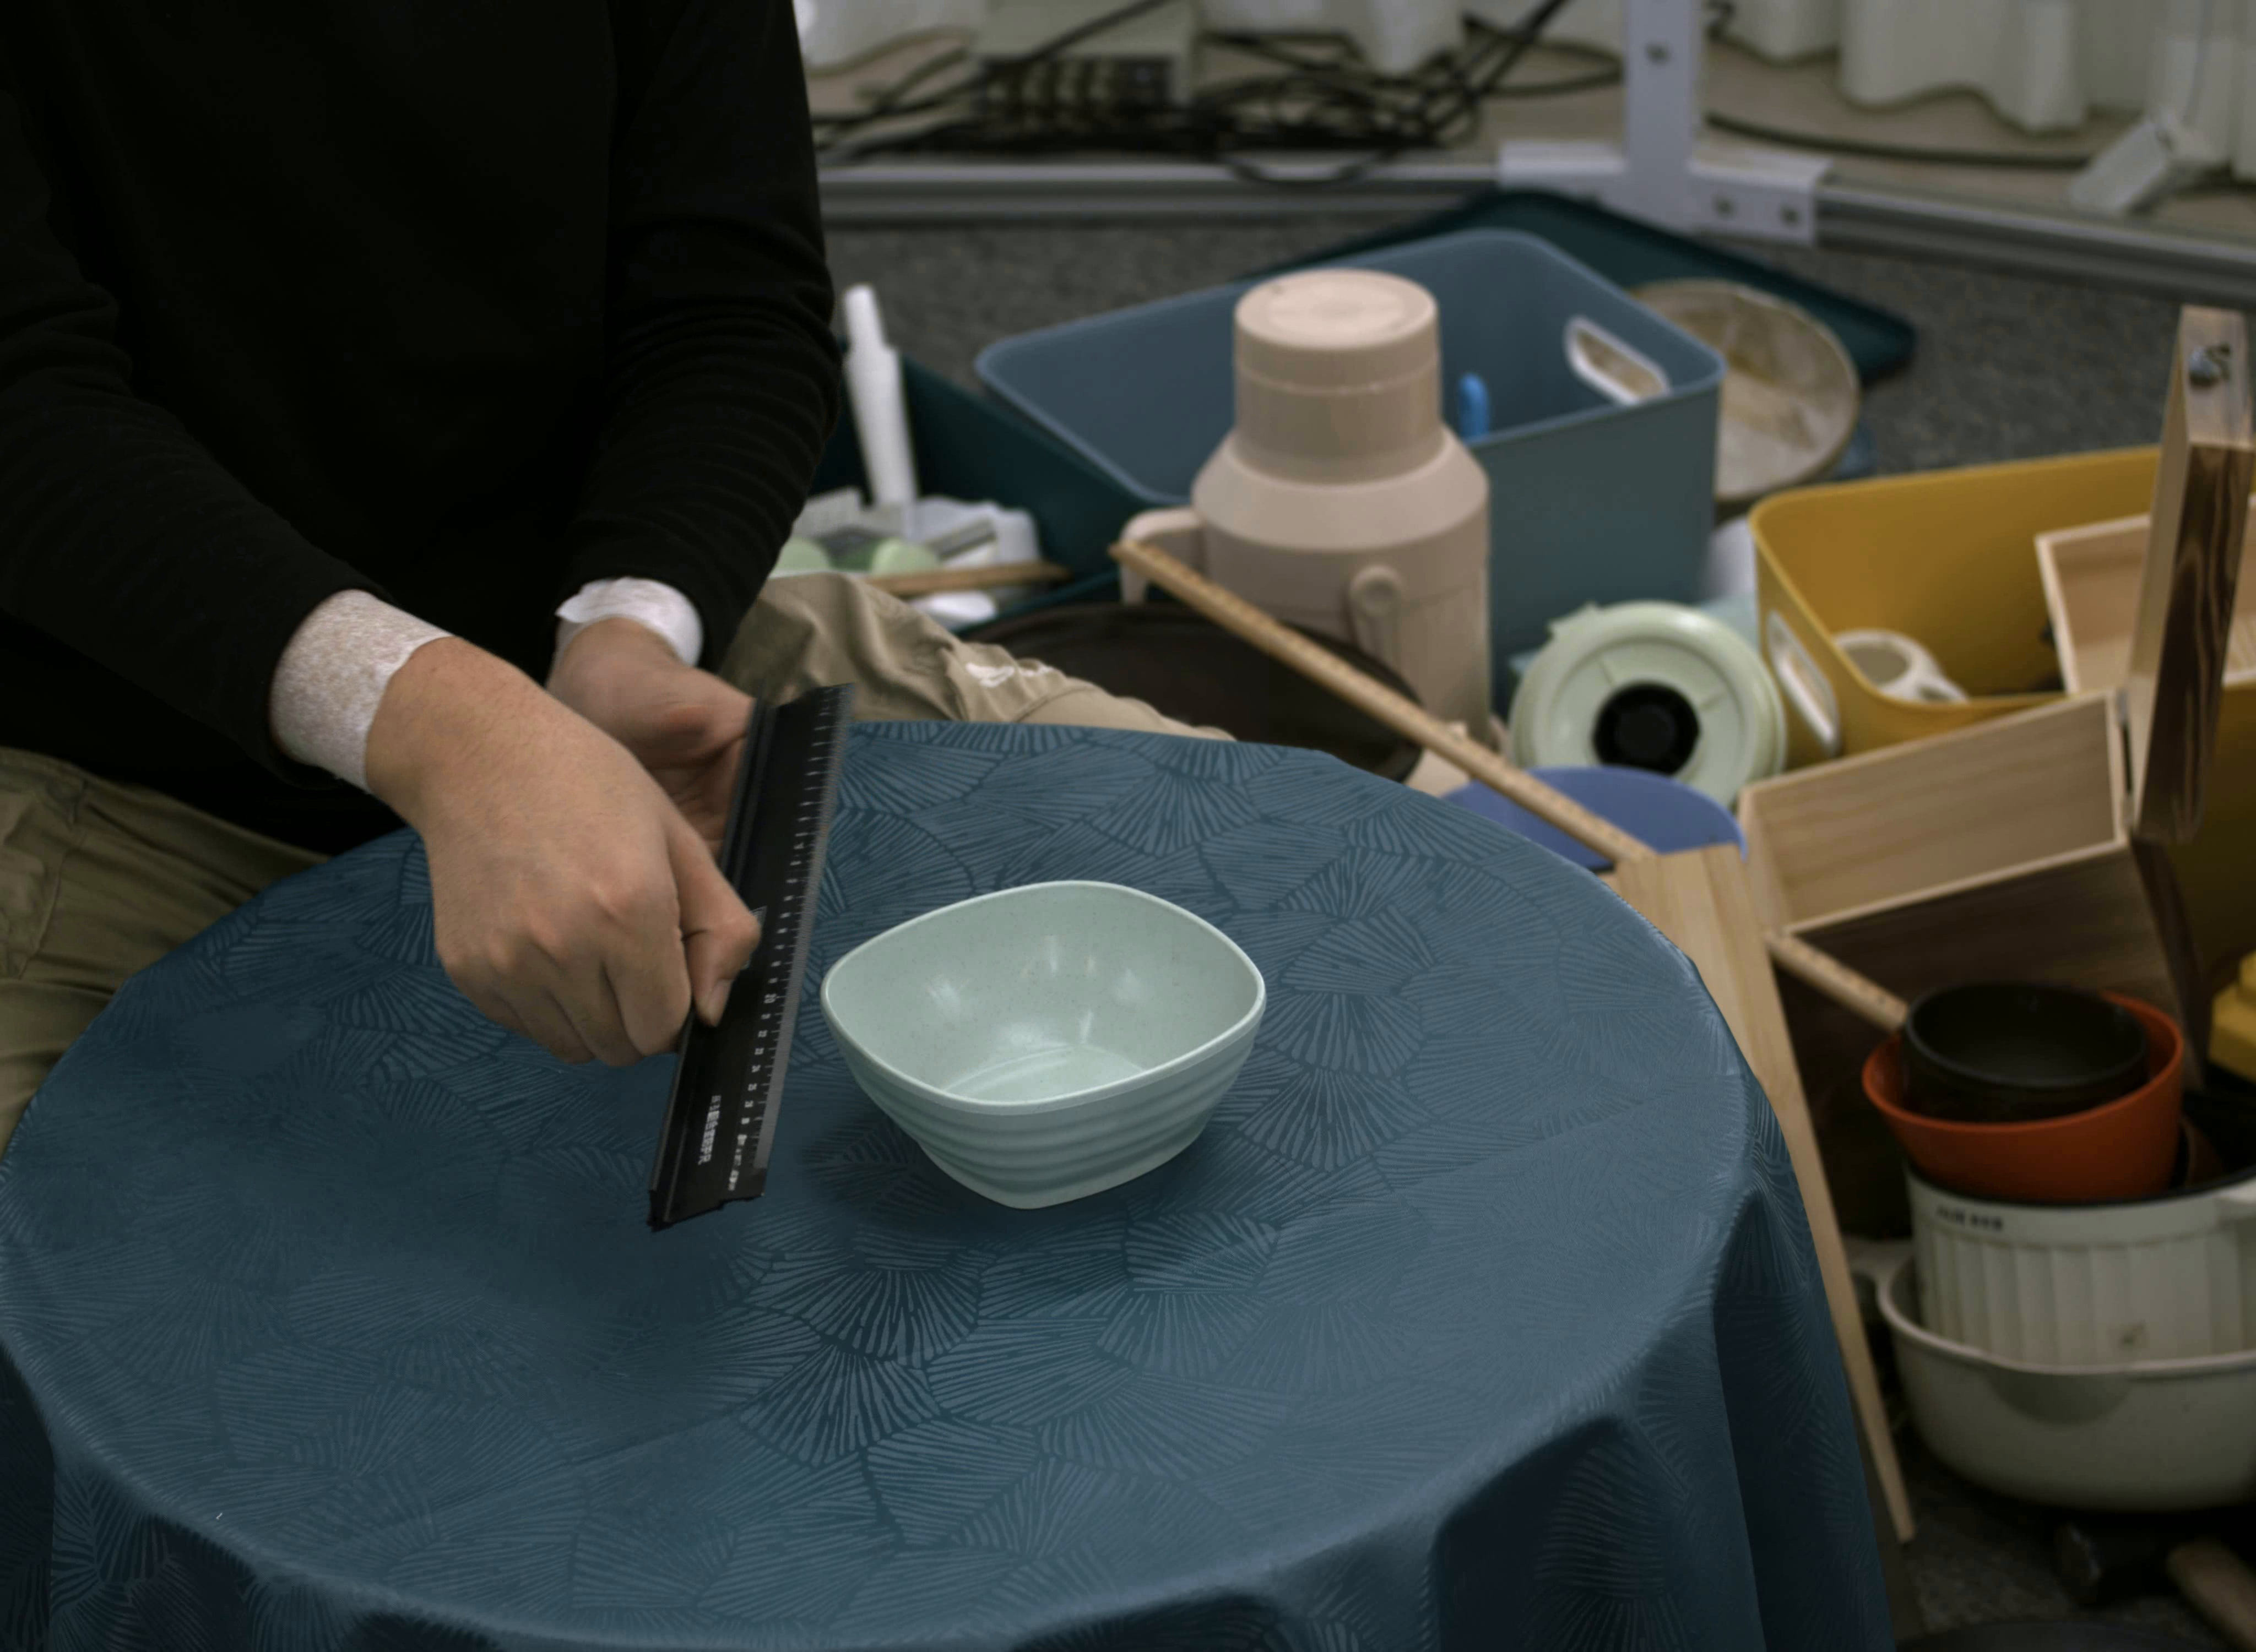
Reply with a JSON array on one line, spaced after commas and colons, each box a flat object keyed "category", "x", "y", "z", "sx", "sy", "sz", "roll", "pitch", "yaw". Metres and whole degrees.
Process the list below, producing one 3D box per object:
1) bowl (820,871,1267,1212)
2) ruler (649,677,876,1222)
[{"category": "bowl", "x": -0.027, "y": 0.078, "z": 1.885, "sx": 0.151, "sy": 0.058, "sz": 0.154, "roll": -1, "pitch": 30, "yaw": 1}, {"category": "ruler", "x": -0.119, "y": 0.030, "z": 1.835, "sx": 0.039, "sy": 0.017, "sz": 0.318, "roll": -15, "pitch": 28, "yaw": 14}]
